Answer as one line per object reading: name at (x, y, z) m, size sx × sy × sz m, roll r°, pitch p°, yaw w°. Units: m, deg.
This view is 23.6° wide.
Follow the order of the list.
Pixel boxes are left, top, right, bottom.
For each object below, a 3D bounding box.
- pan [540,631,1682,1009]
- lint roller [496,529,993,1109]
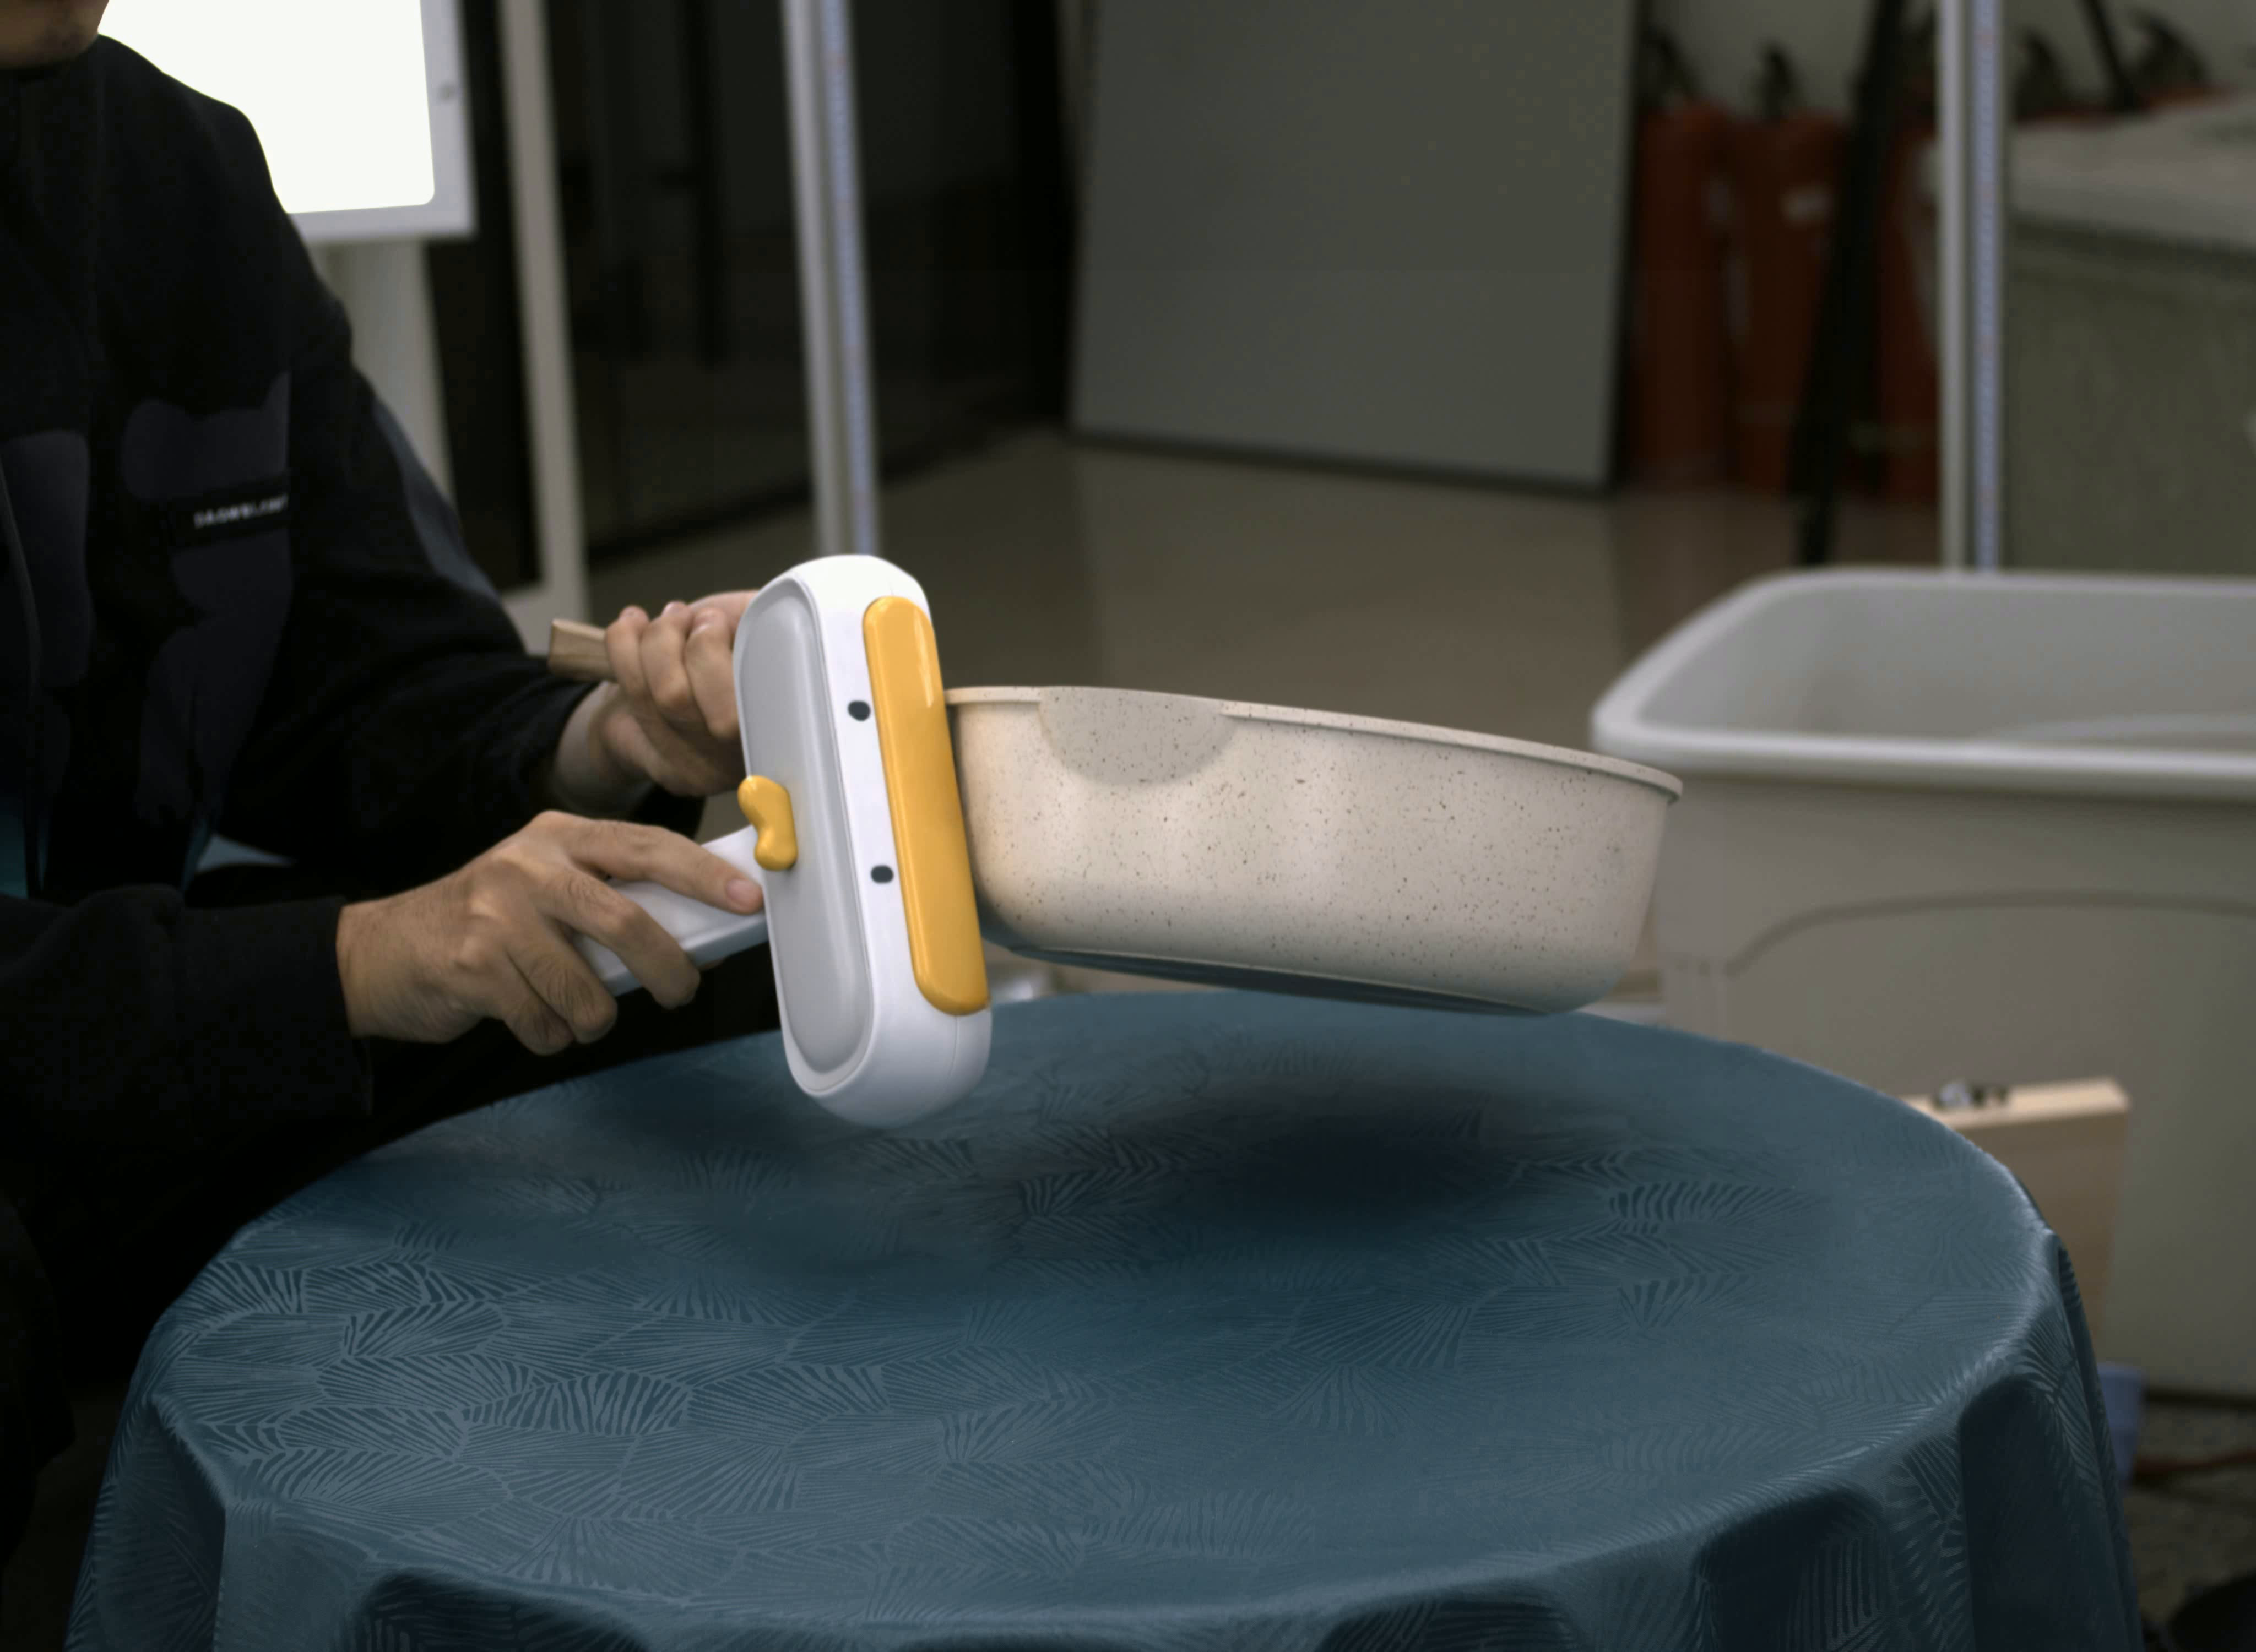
pan at (-0.022, -0.003, 1.831) m, size 0.436 × 0.103 × 0.259 m, roll 5°, pitch -2°, yaw 30°
lint roller at (-0.131, 0.021, 1.785) m, size 0.072 × 0.195 × 0.194 m, roll 5°, pitch -28°, yaw -44°
